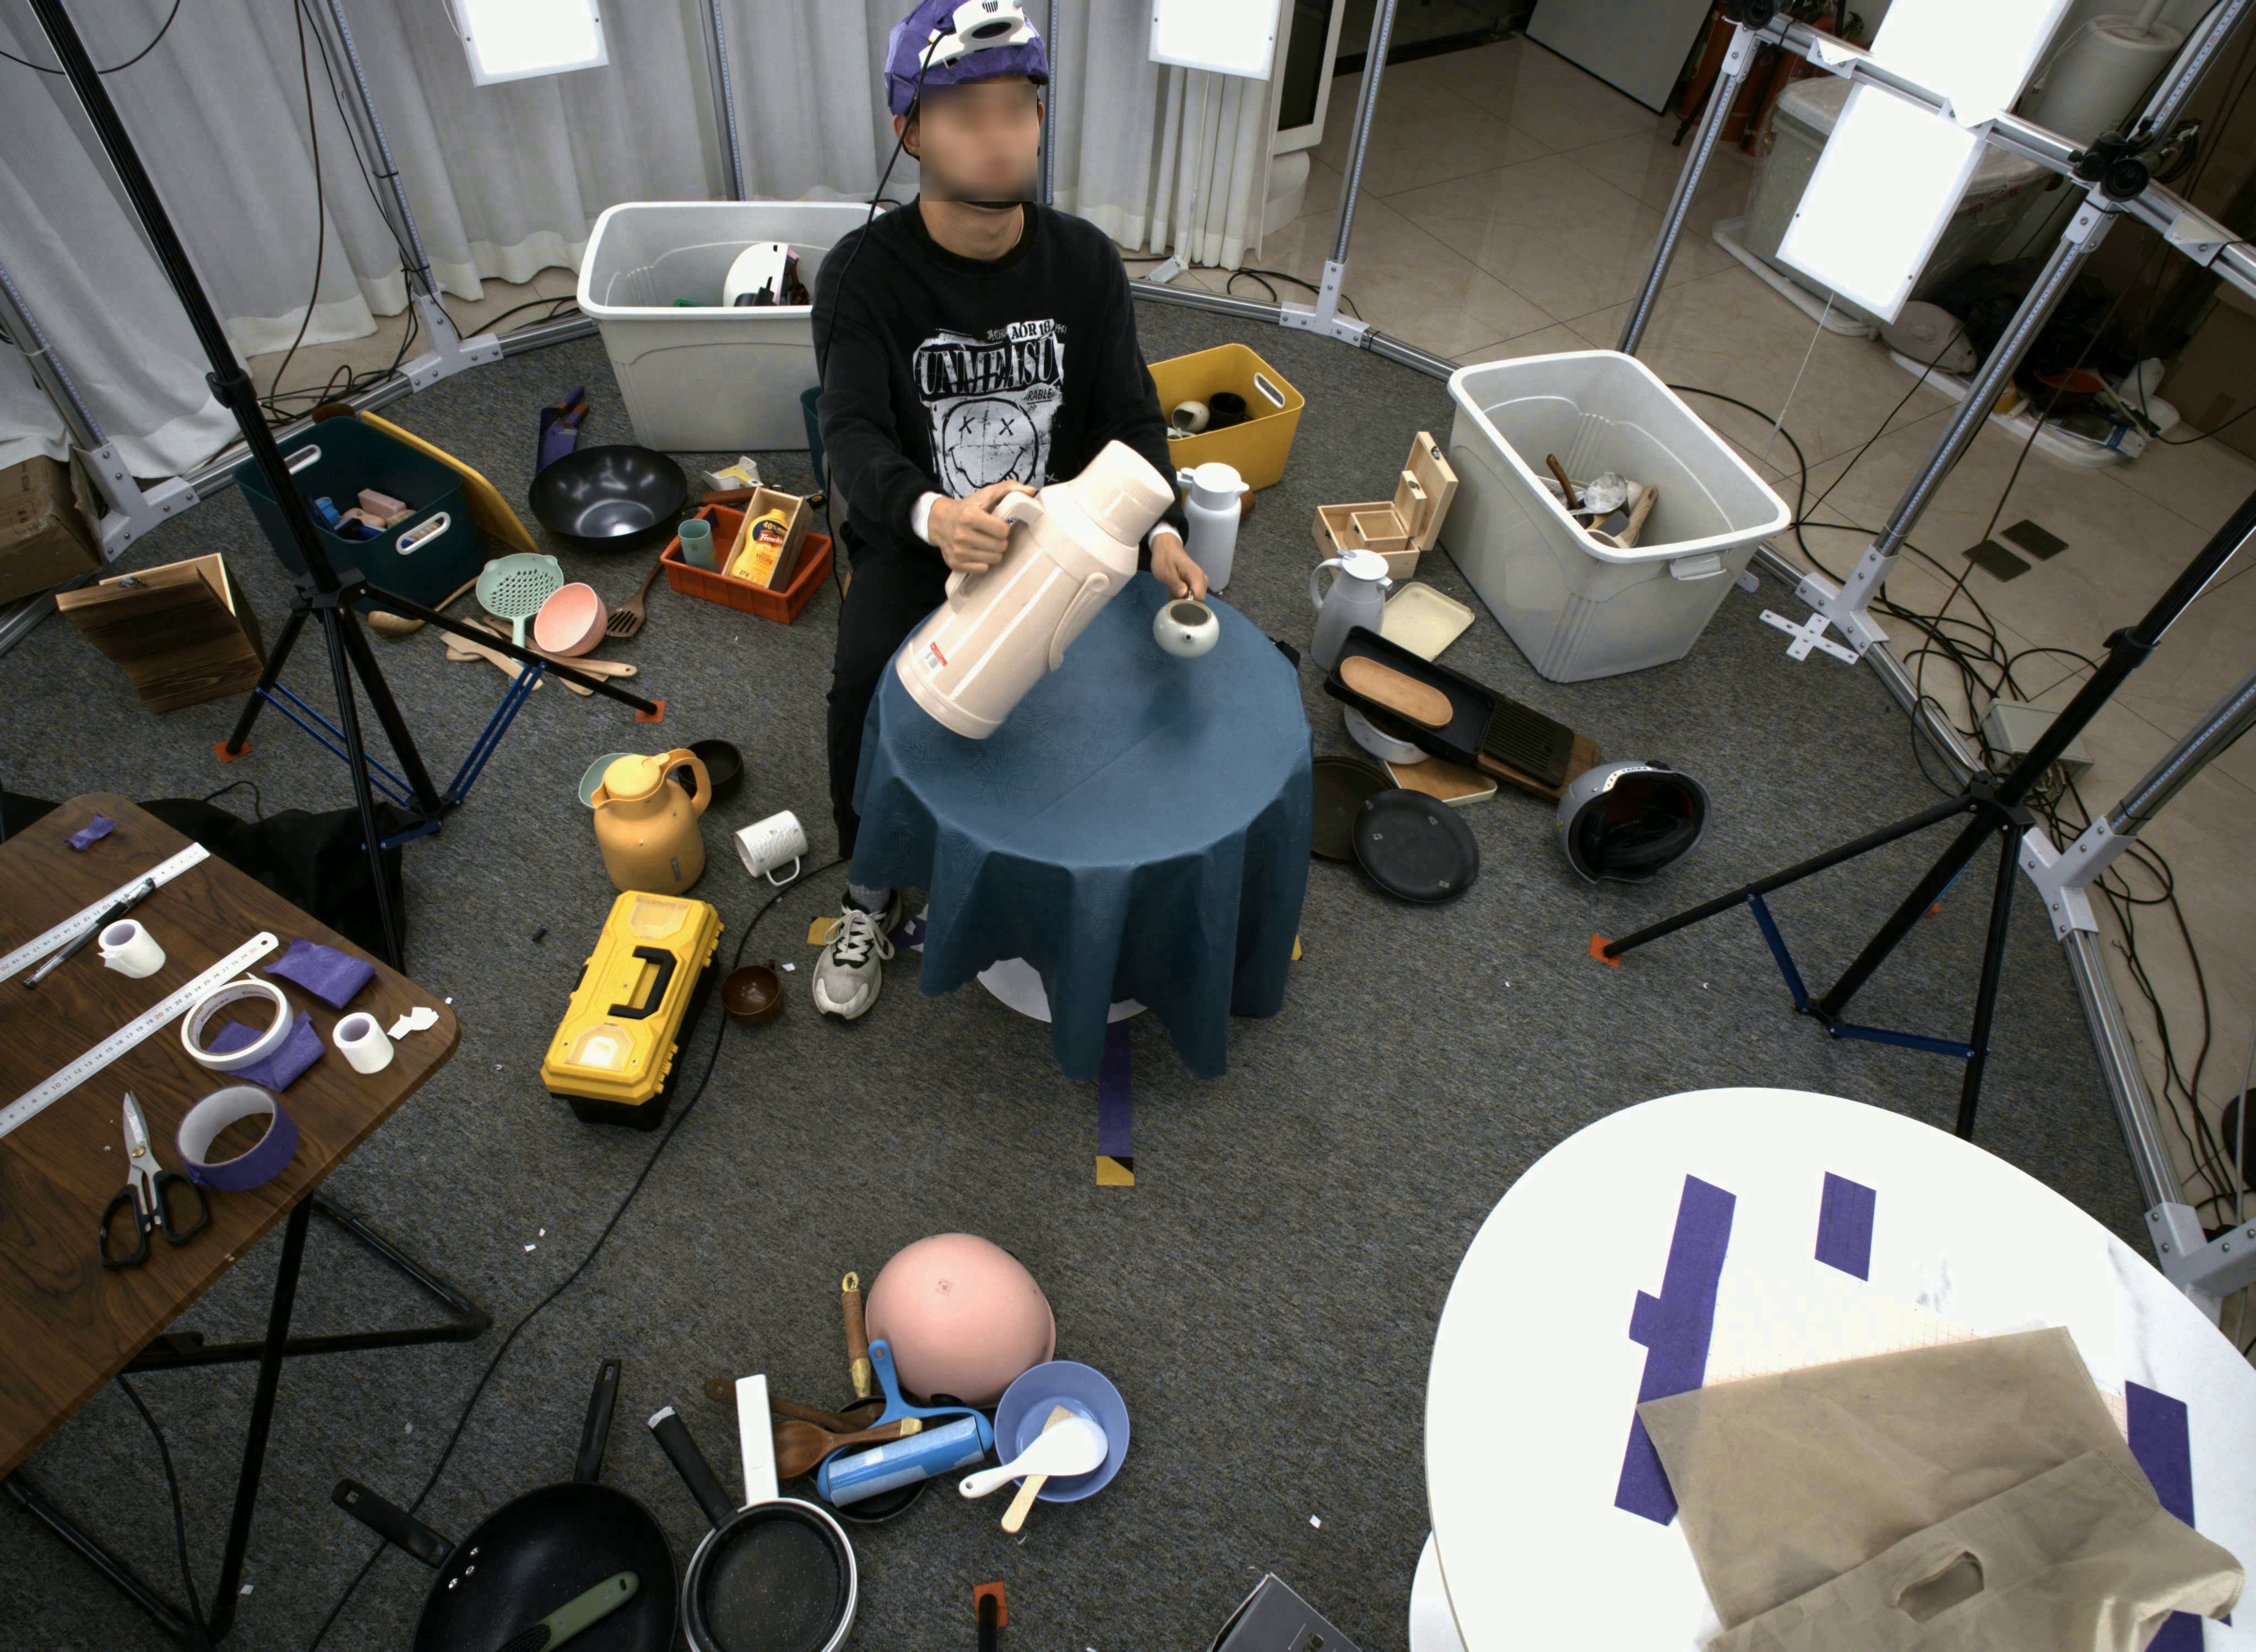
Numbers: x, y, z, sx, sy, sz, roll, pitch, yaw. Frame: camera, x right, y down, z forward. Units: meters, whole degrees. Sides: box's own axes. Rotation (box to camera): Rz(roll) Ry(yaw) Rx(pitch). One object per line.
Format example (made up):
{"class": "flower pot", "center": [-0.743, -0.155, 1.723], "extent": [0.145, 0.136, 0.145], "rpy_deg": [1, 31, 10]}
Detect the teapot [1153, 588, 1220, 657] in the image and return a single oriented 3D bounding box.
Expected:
{"class": "teapot", "center": [0.081, -0.280, 1.779], "extent": [0.092, 0.058, 0.131], "rpy_deg": [4, 44, -2]}

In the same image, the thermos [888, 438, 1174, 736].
{"class": "thermos", "center": [-0.127, -0.308, 1.612], "extent": [0.204, 0.402, 0.179], "rpy_deg": [27, 29, -43]}
